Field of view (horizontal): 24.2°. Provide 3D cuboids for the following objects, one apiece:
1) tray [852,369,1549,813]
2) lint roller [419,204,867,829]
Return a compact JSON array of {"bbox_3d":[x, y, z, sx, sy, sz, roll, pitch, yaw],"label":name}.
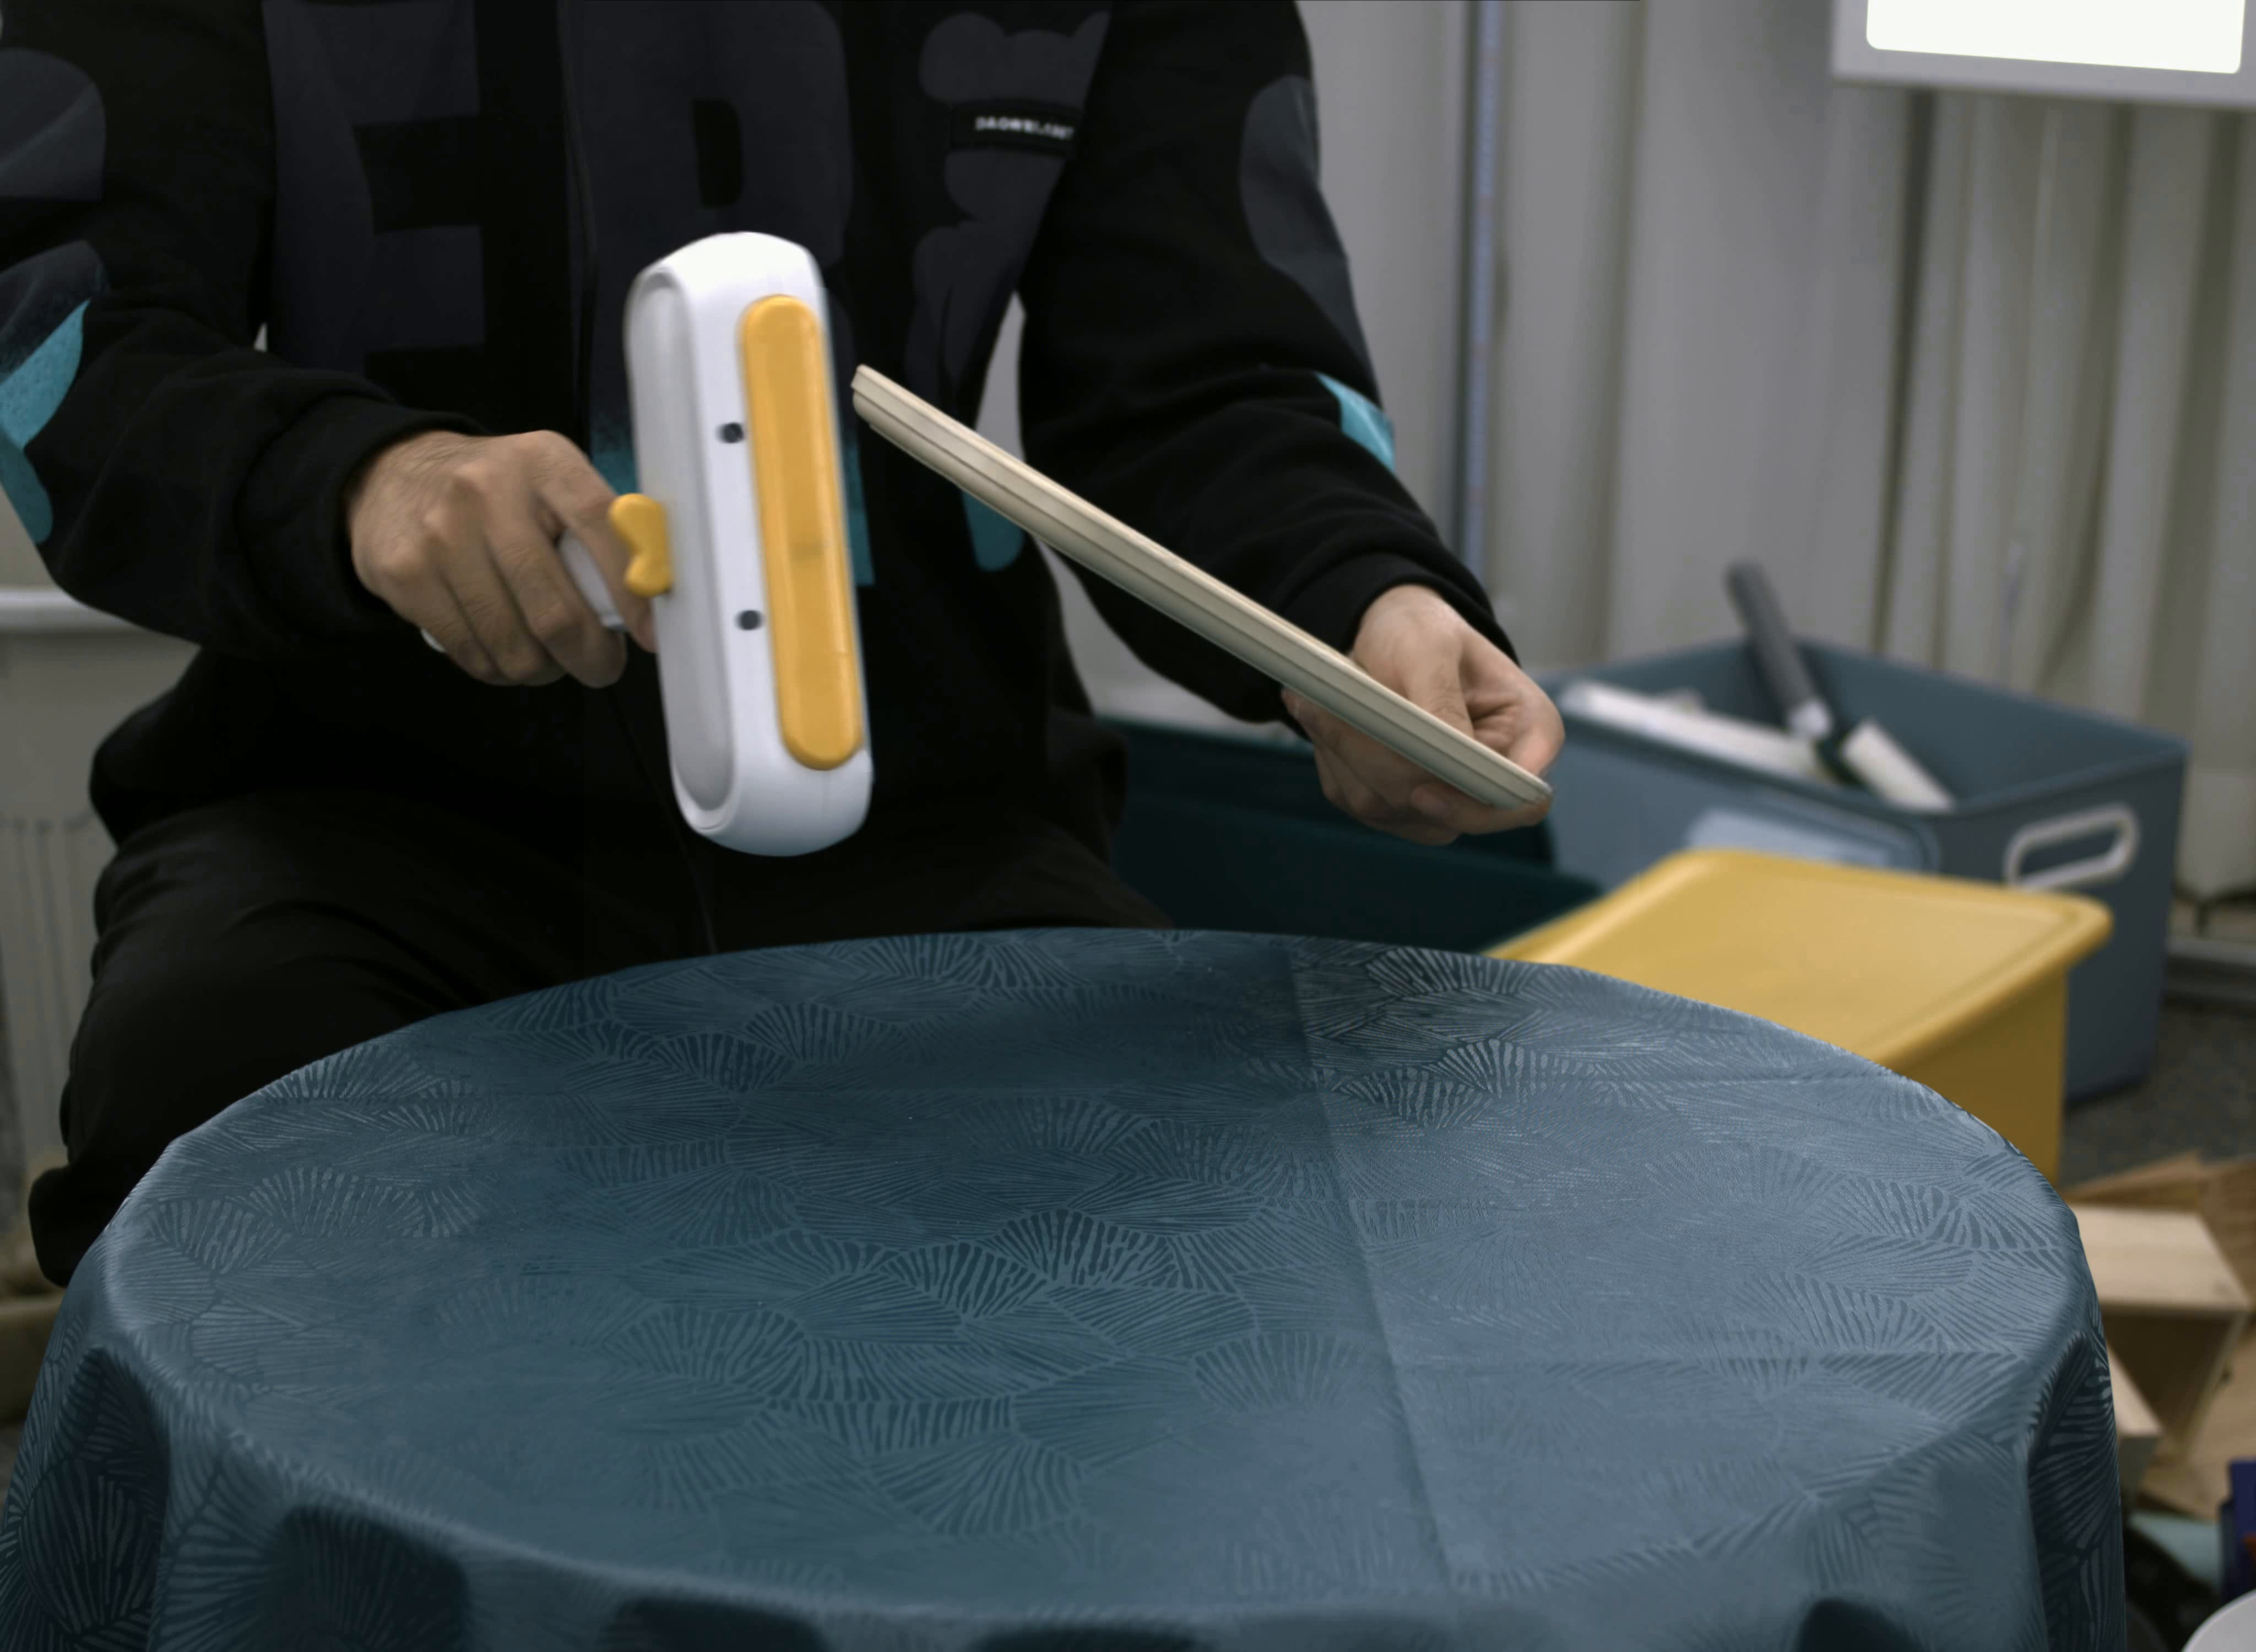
[{"bbox_3d":[0.022,-0.075,1.741,0.242,0.017,0.169,30,2,-32],"label":"tray"},{"bbox_3d":[-0.158,-0.084,1.661,0.074,0.193,0.191,-11,-3,-35],"label":"lint roller"}]
